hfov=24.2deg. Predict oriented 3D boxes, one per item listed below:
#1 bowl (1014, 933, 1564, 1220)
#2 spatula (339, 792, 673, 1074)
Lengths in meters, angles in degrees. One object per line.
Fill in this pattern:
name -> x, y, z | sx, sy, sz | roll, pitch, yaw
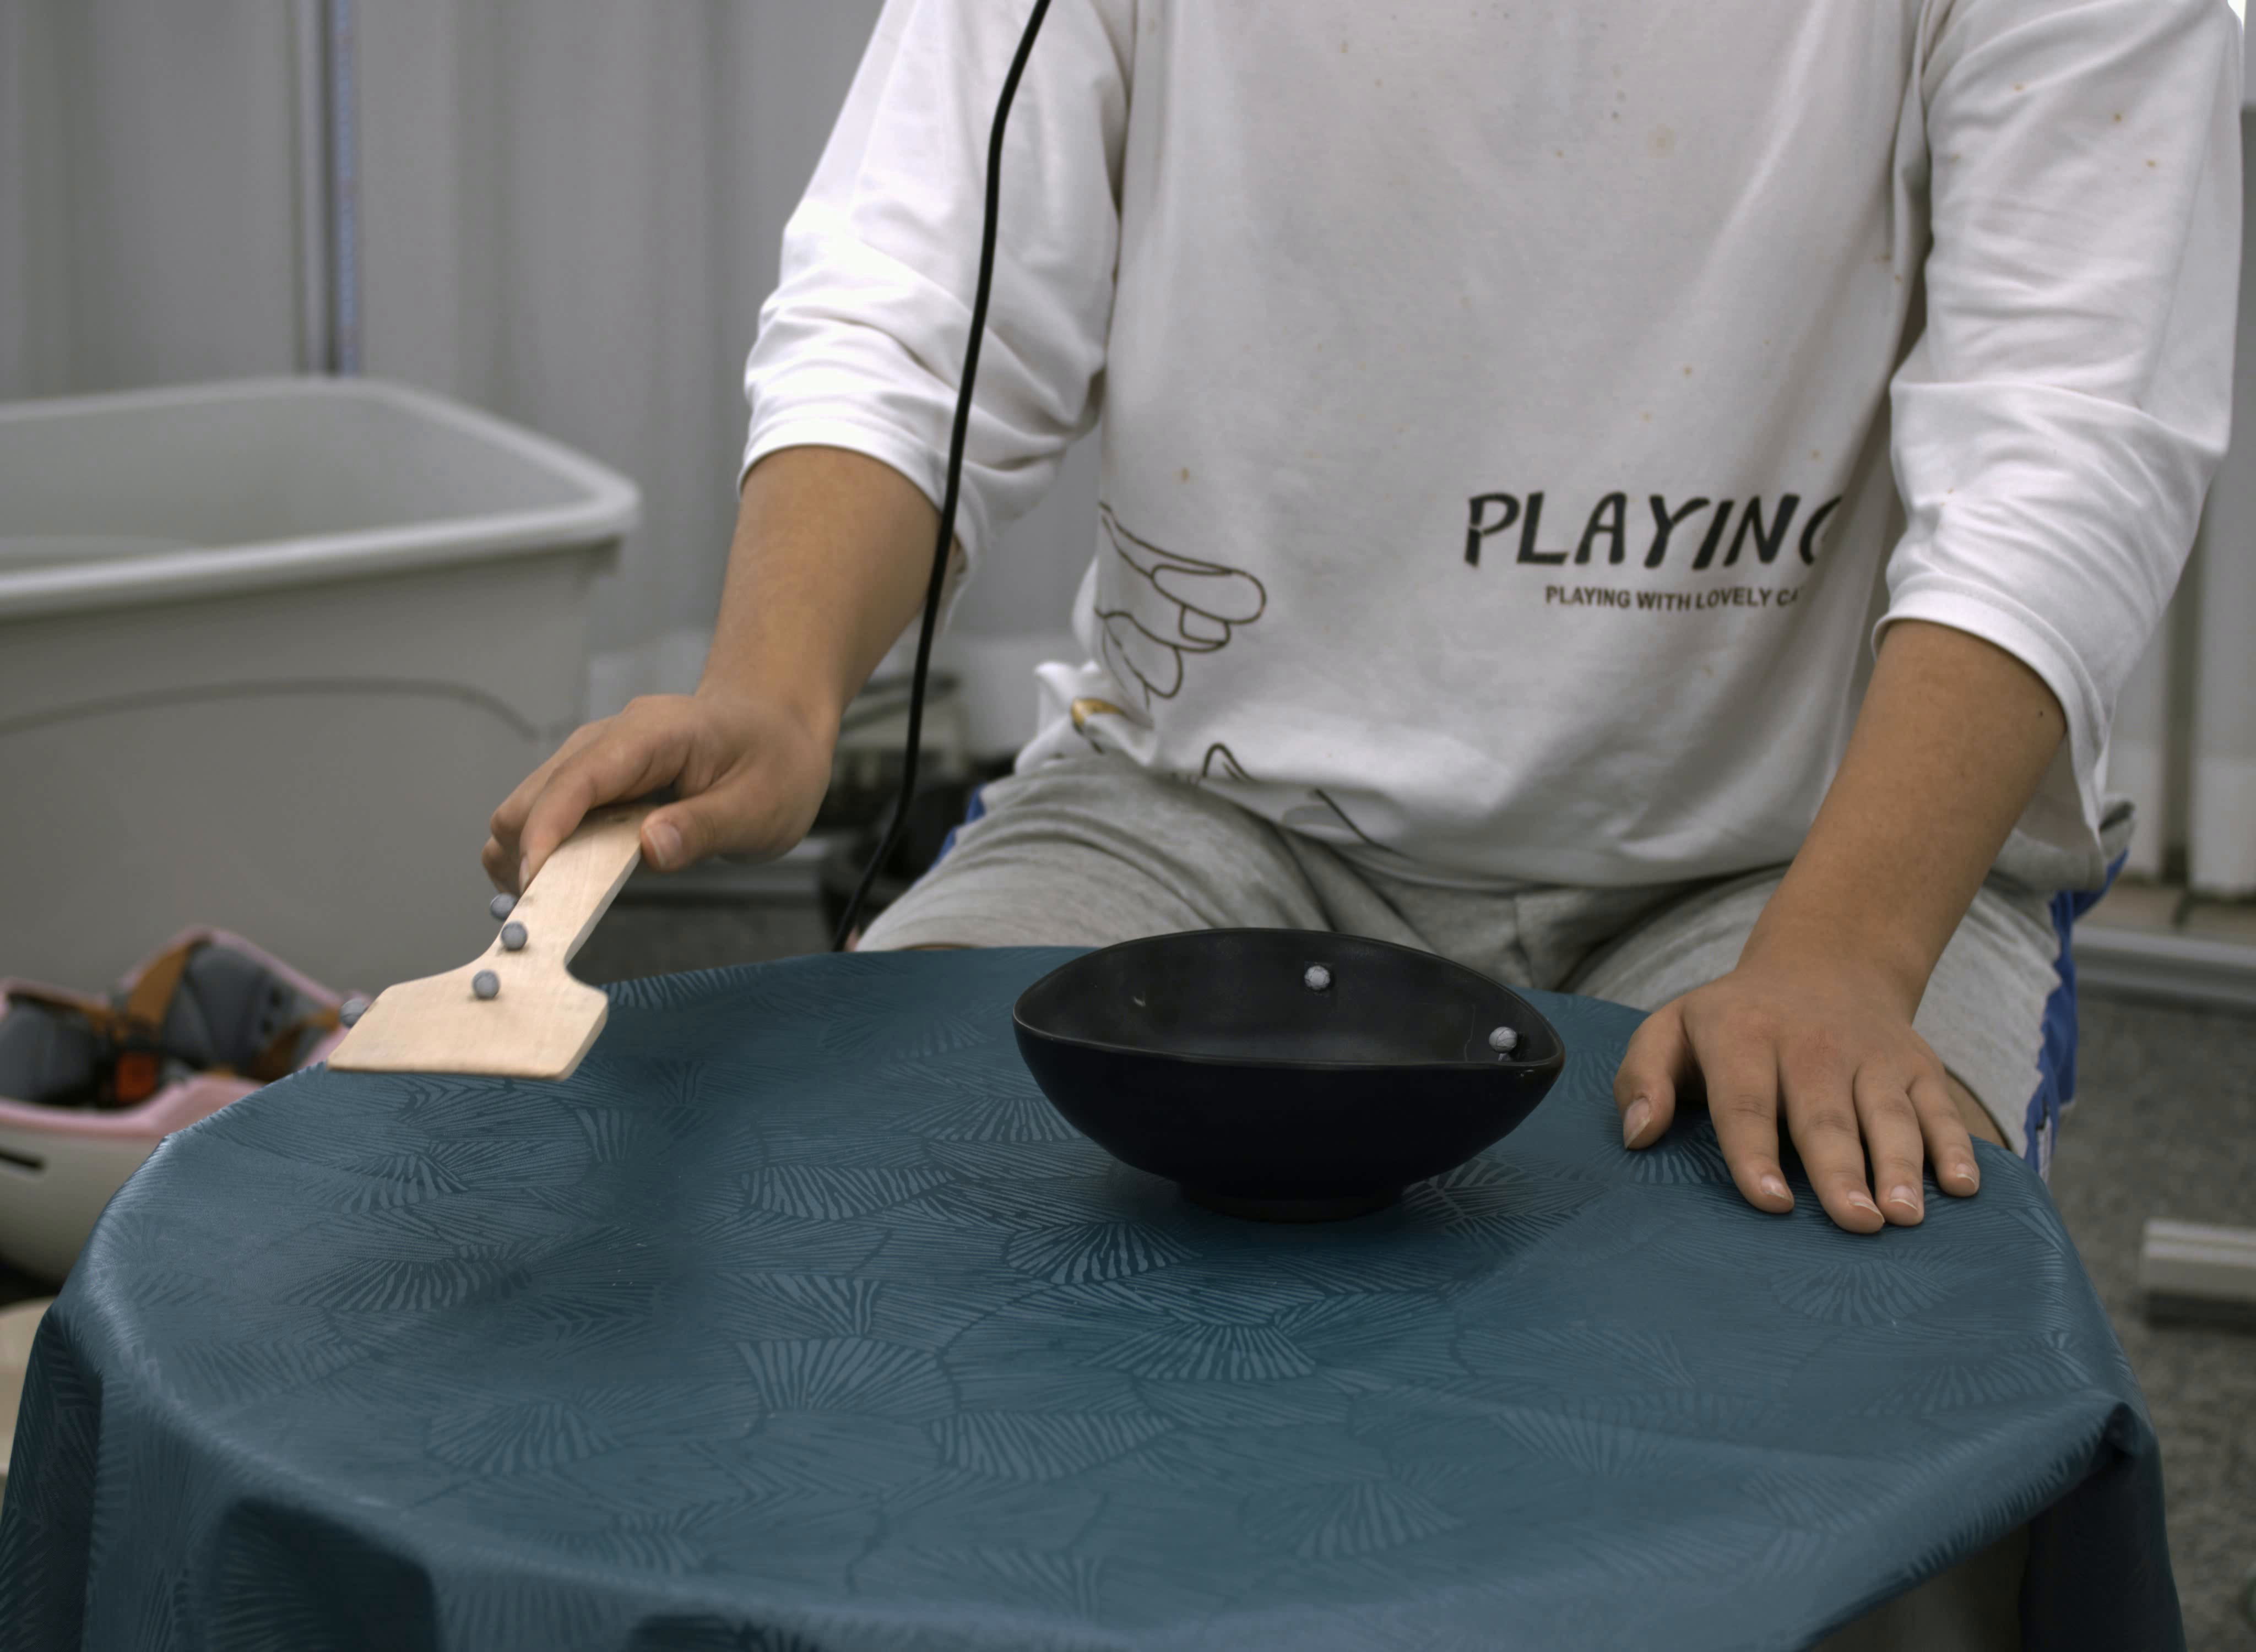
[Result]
bowl -> 0.048, 0.081, 1.627 | 0.170, 0.067, 0.136 | 3, 15, 0
spatula -> -0.179, 0.031, 1.625 | 0.072, 0.011, 0.292 | 1, 16, 5
